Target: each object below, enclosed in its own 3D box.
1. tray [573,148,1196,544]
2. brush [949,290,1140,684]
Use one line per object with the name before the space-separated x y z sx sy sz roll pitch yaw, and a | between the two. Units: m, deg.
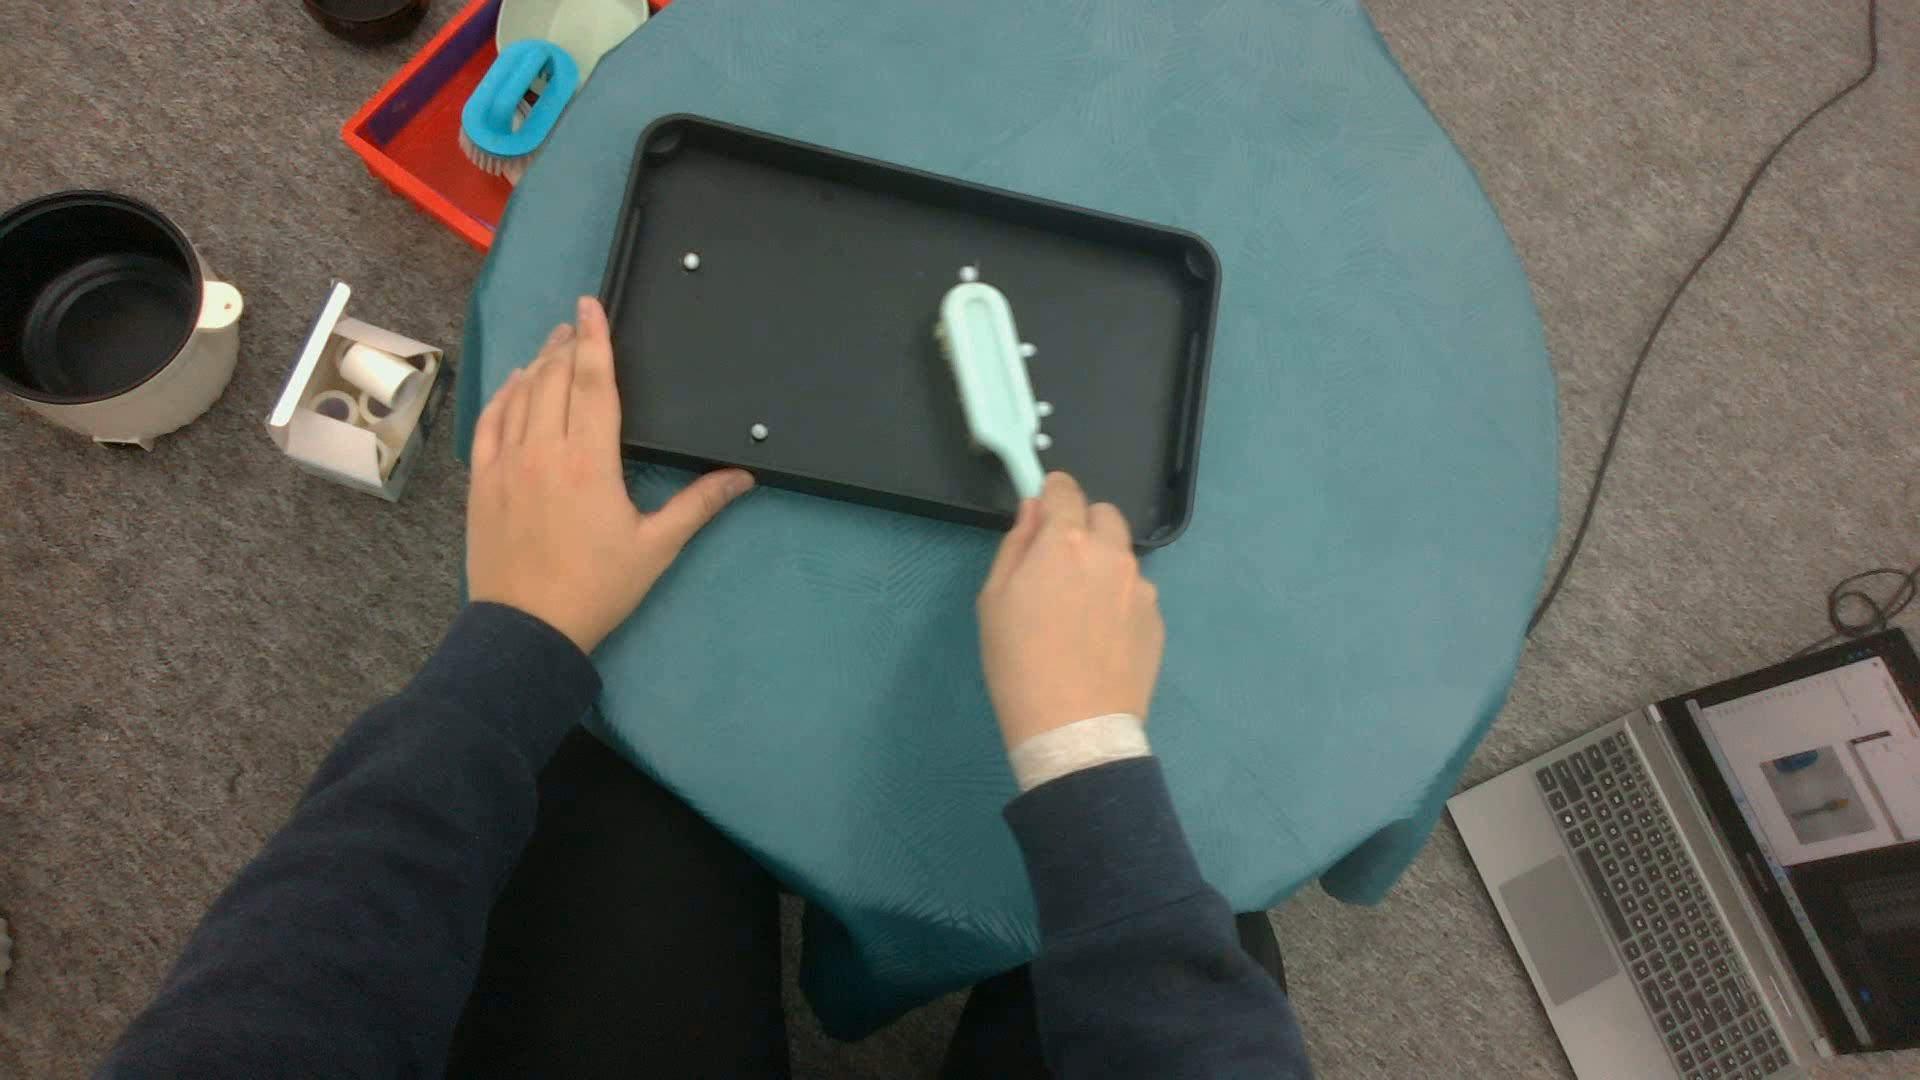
tray | -0.034 -0.101 0.740 0.318 0.037 0.185 7 75 -7
brush | 0.042 -0.028 0.704 0.038 0.049 0.229 -13 63 -16
